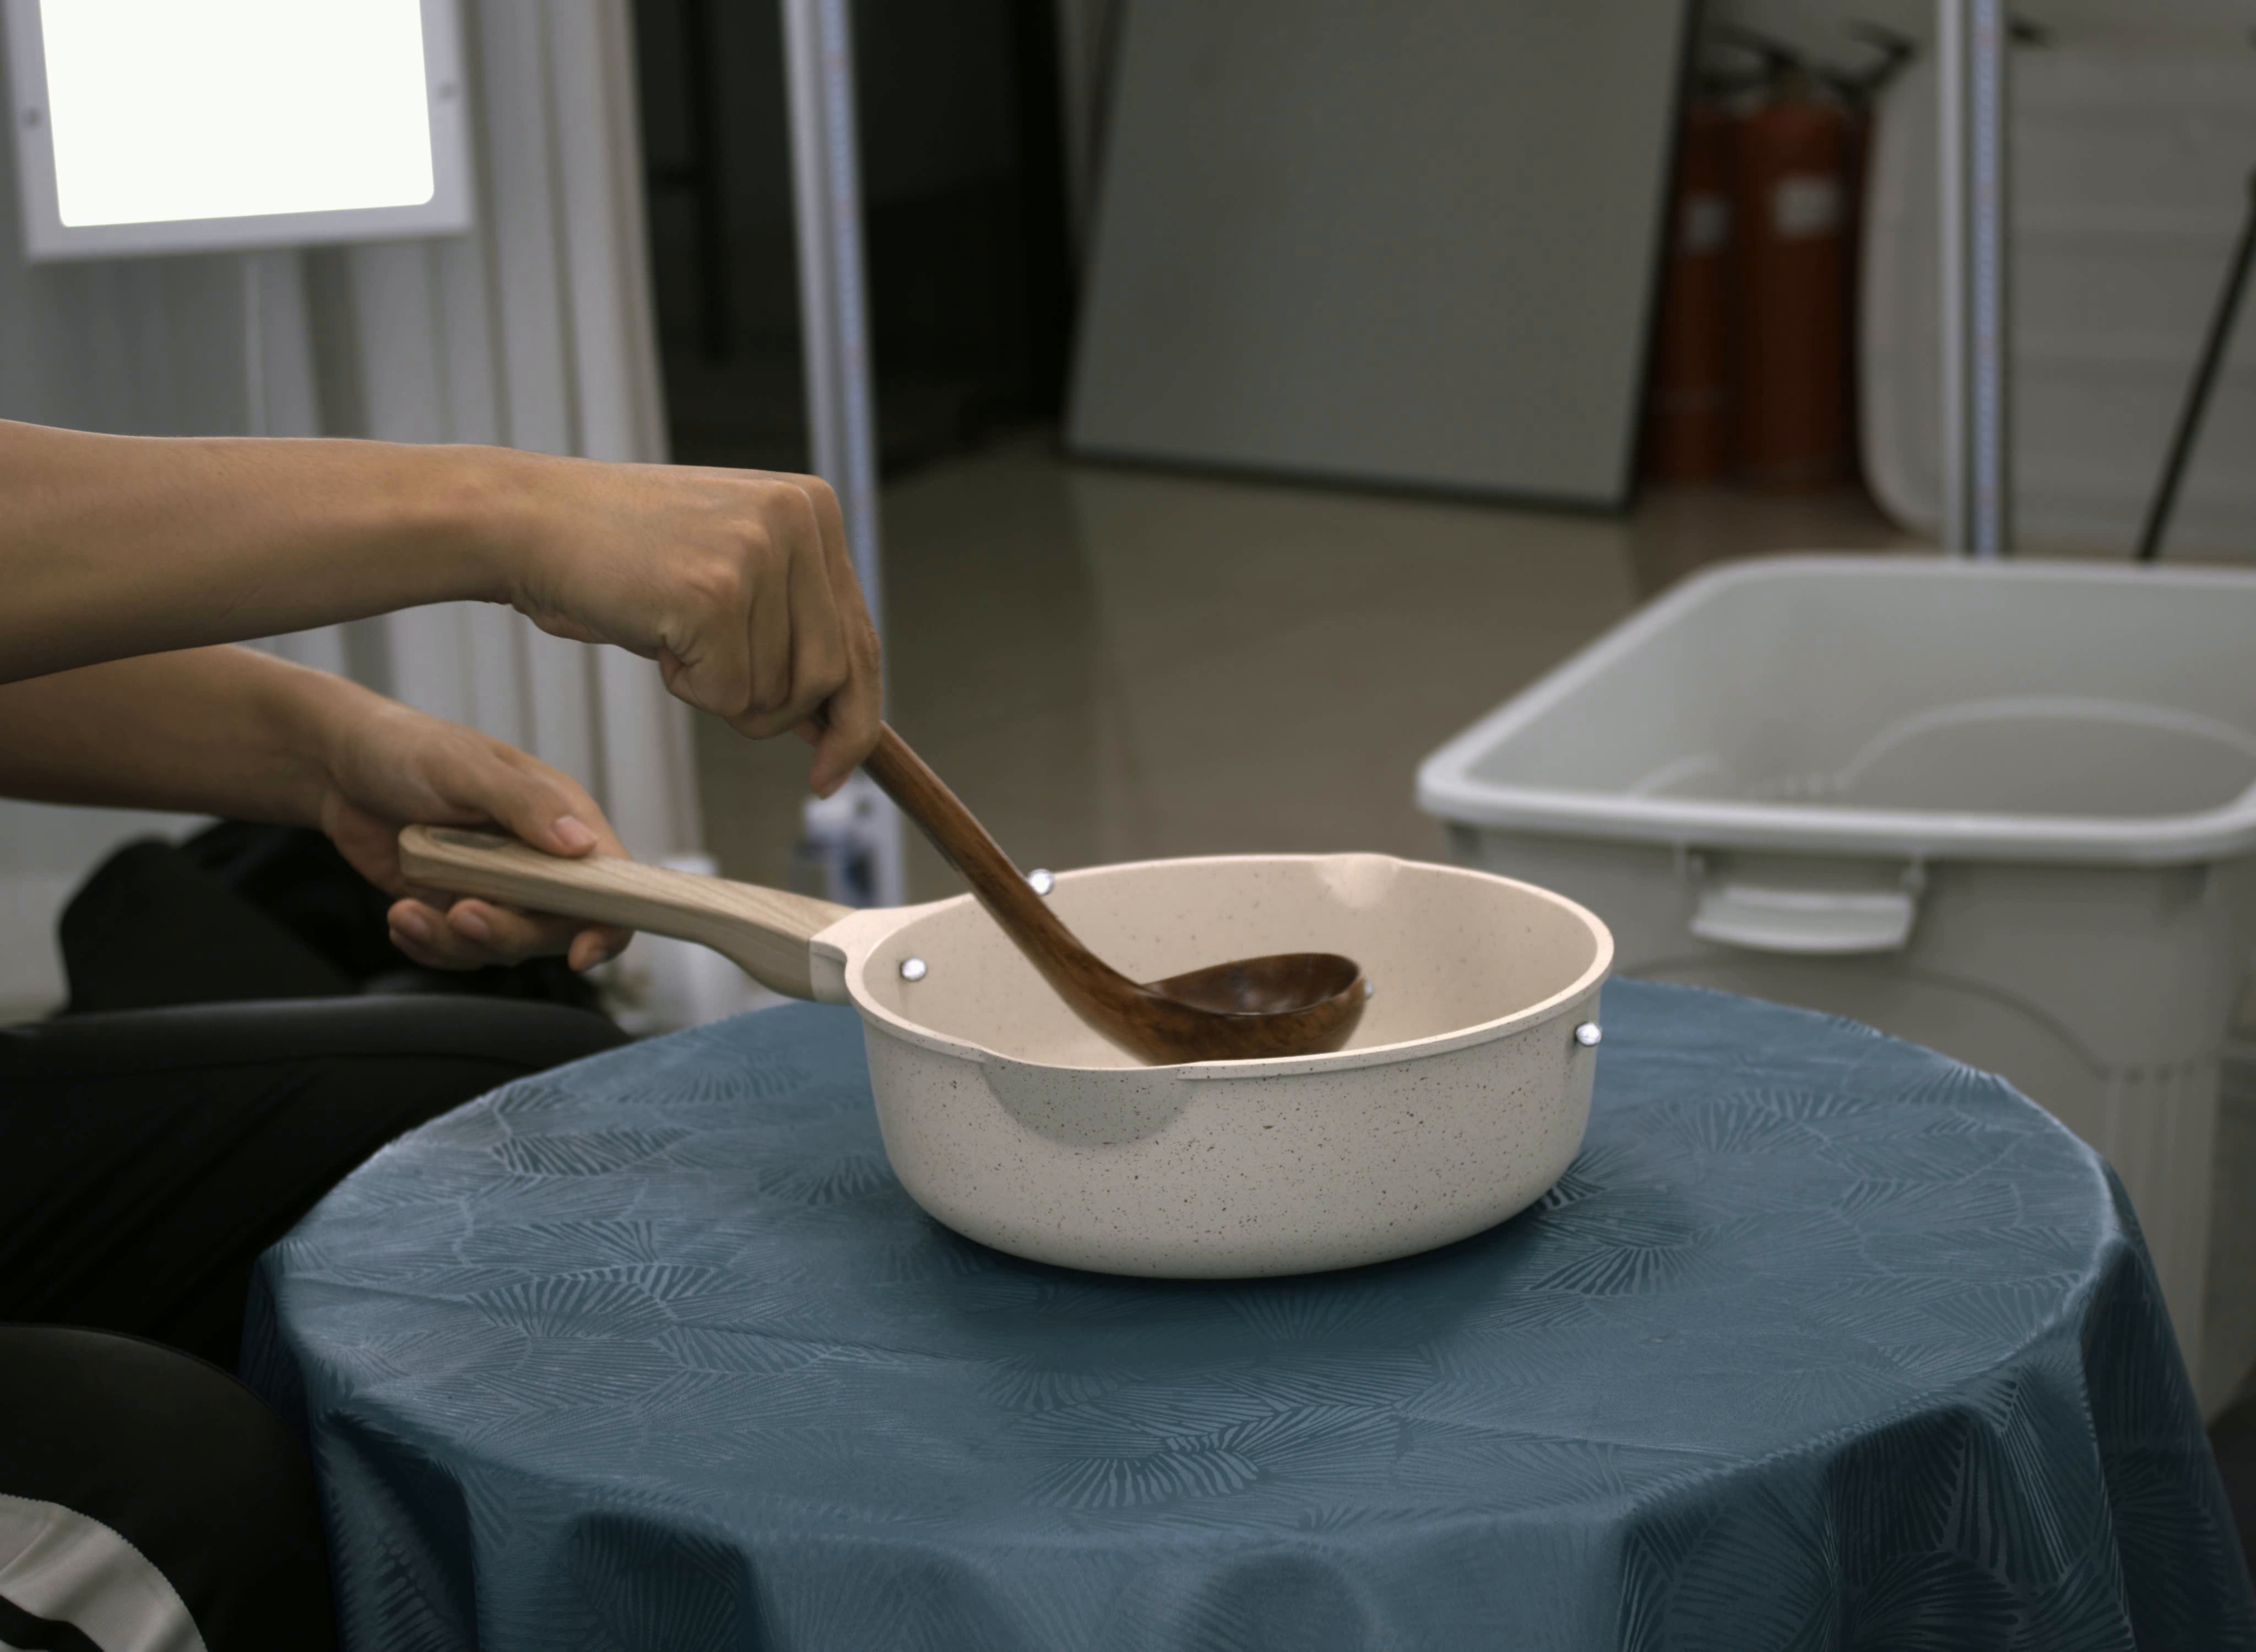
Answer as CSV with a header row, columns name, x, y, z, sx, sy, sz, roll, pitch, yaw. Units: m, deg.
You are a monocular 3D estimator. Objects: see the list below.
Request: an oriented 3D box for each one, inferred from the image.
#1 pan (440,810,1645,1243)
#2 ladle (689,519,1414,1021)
name,x,y,z,sx,sy,sz,roll,pitch,yaw
pan,-0.036,0.057,1.813,0.435,0.103,0.260,2,16,25
ladle,-0.017,-0.023,1.672,0.076,0.272,0.083,-52,22,-18
